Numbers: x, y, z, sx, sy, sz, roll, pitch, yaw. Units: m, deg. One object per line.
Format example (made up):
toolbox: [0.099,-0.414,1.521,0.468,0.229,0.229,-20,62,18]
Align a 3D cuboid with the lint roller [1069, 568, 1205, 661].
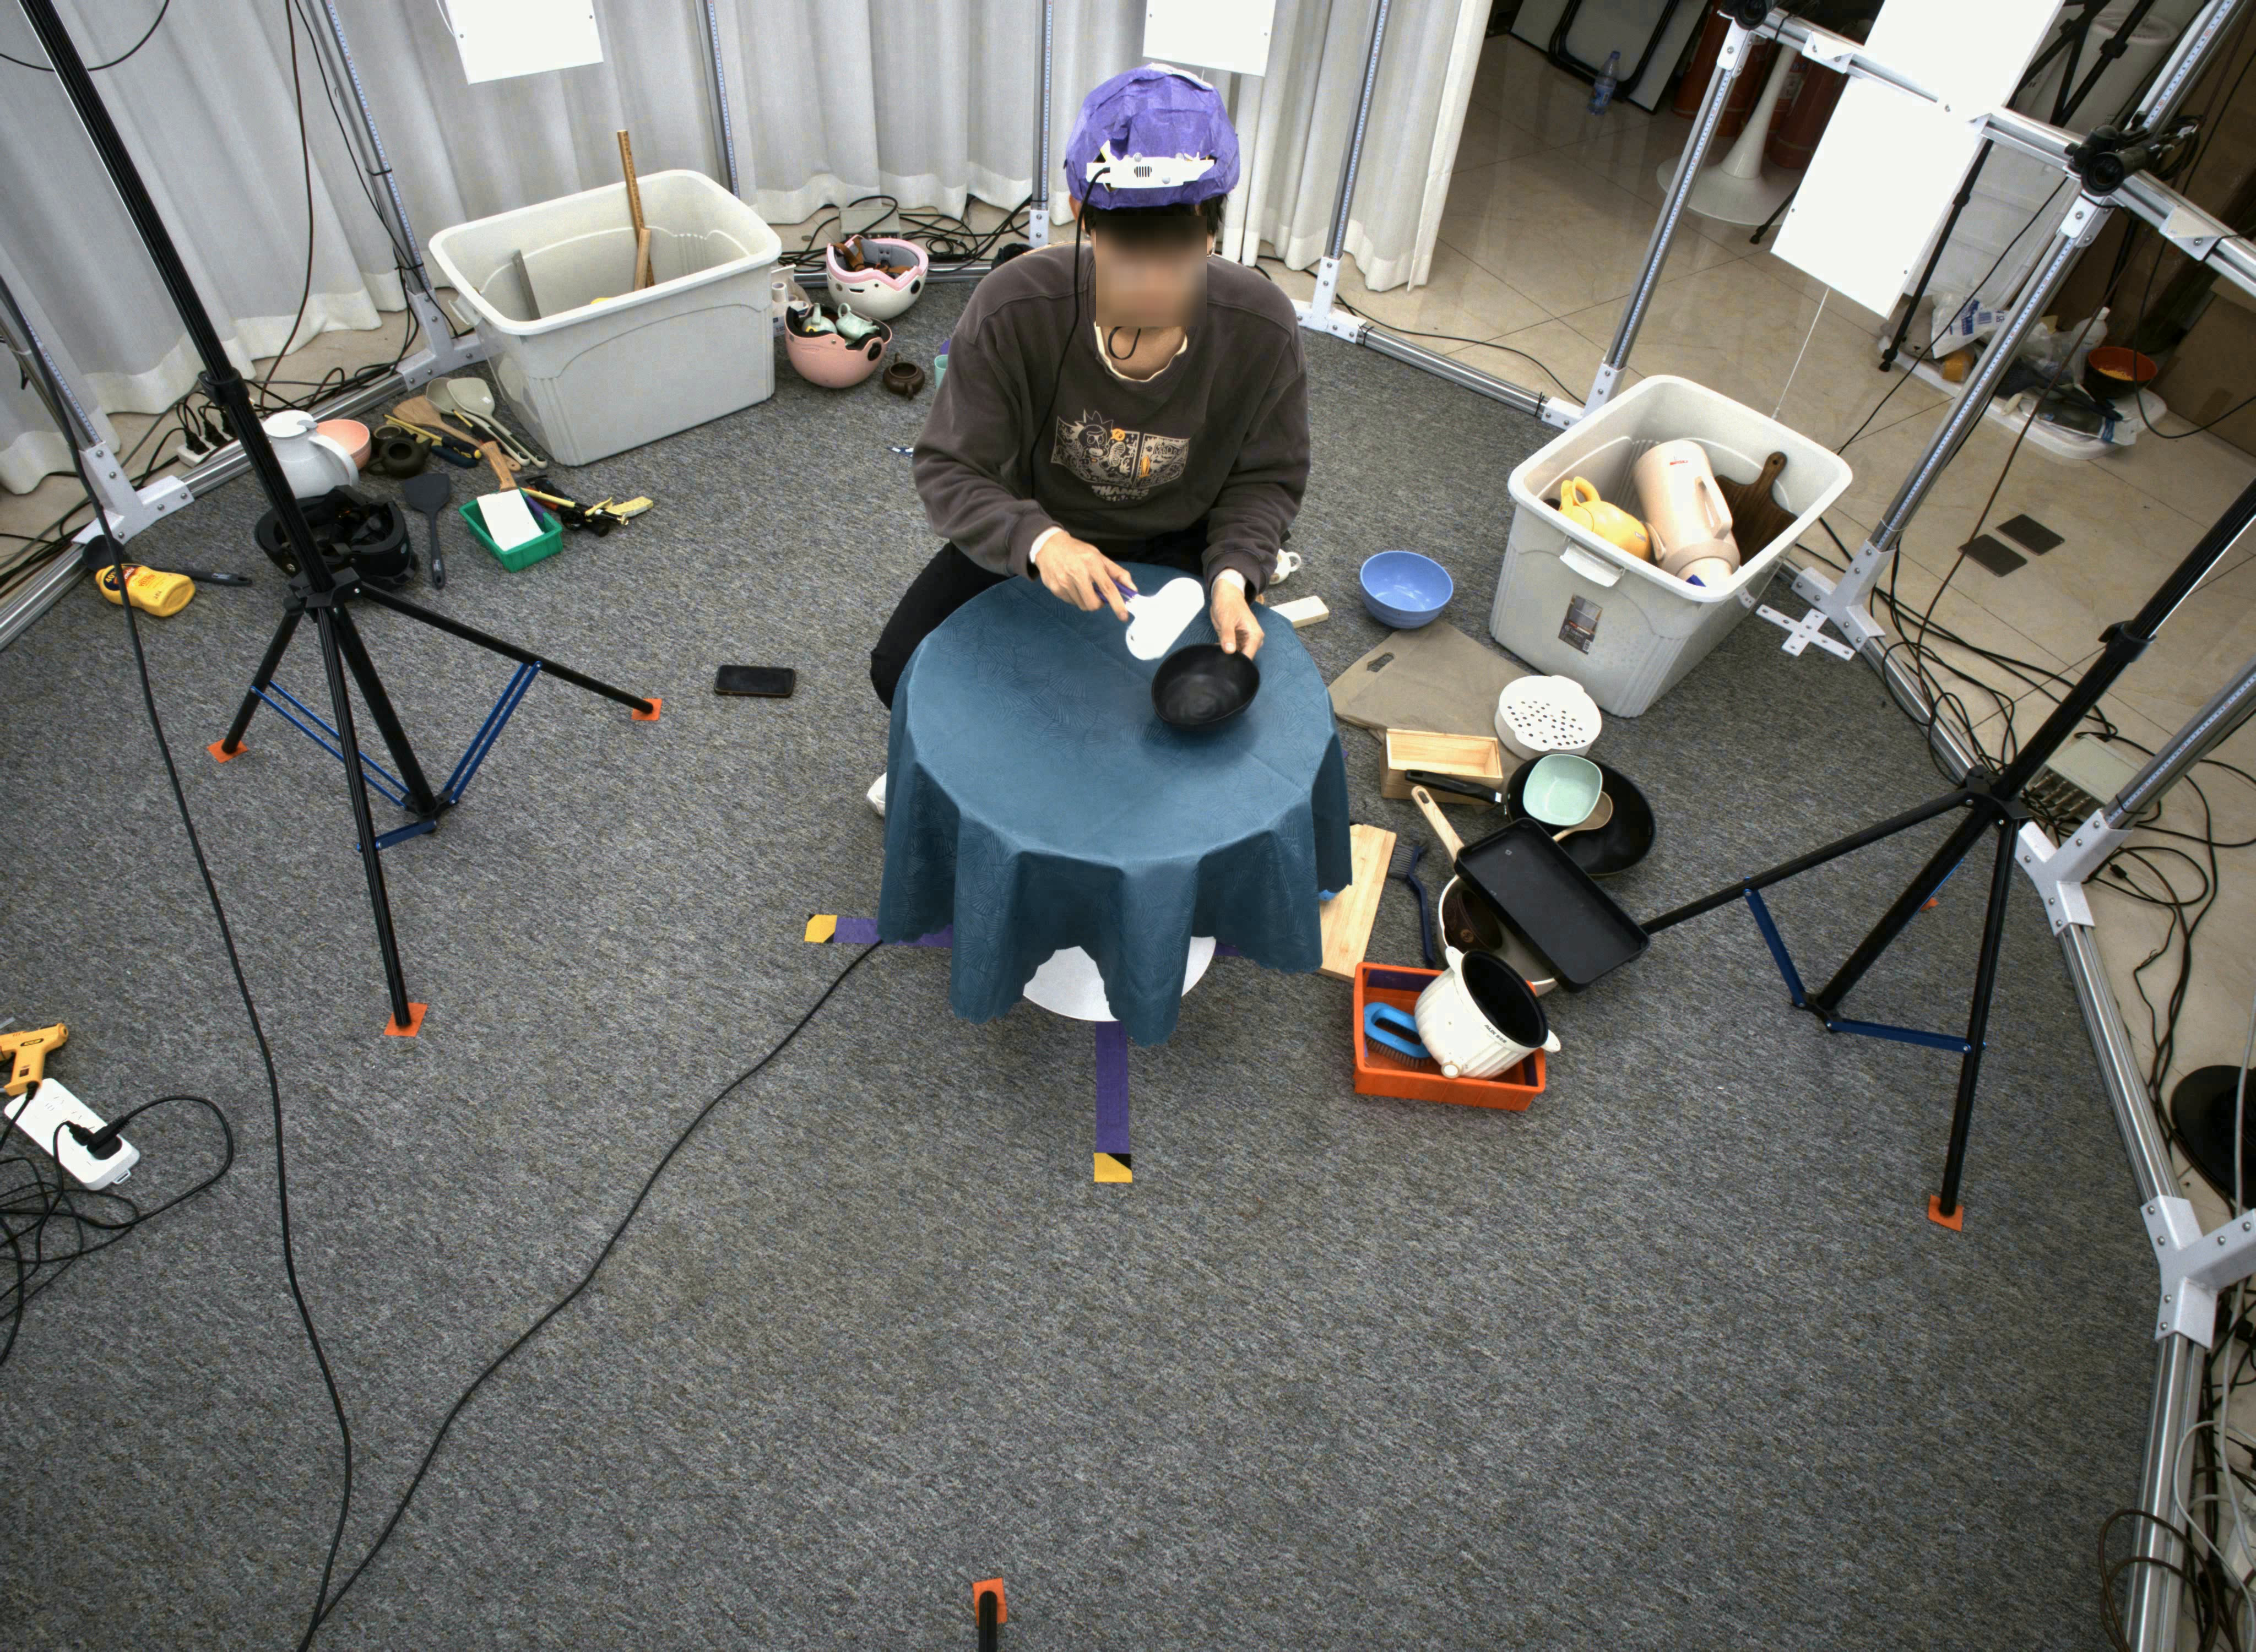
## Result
lint roller: [0.000,-0.302,1.678,0.182,0.049,0.134,34,65,14]

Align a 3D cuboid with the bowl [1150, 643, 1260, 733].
bowl: [0.106,-0.180,1.788,0.139,0.065,0.172,34,57,25]
